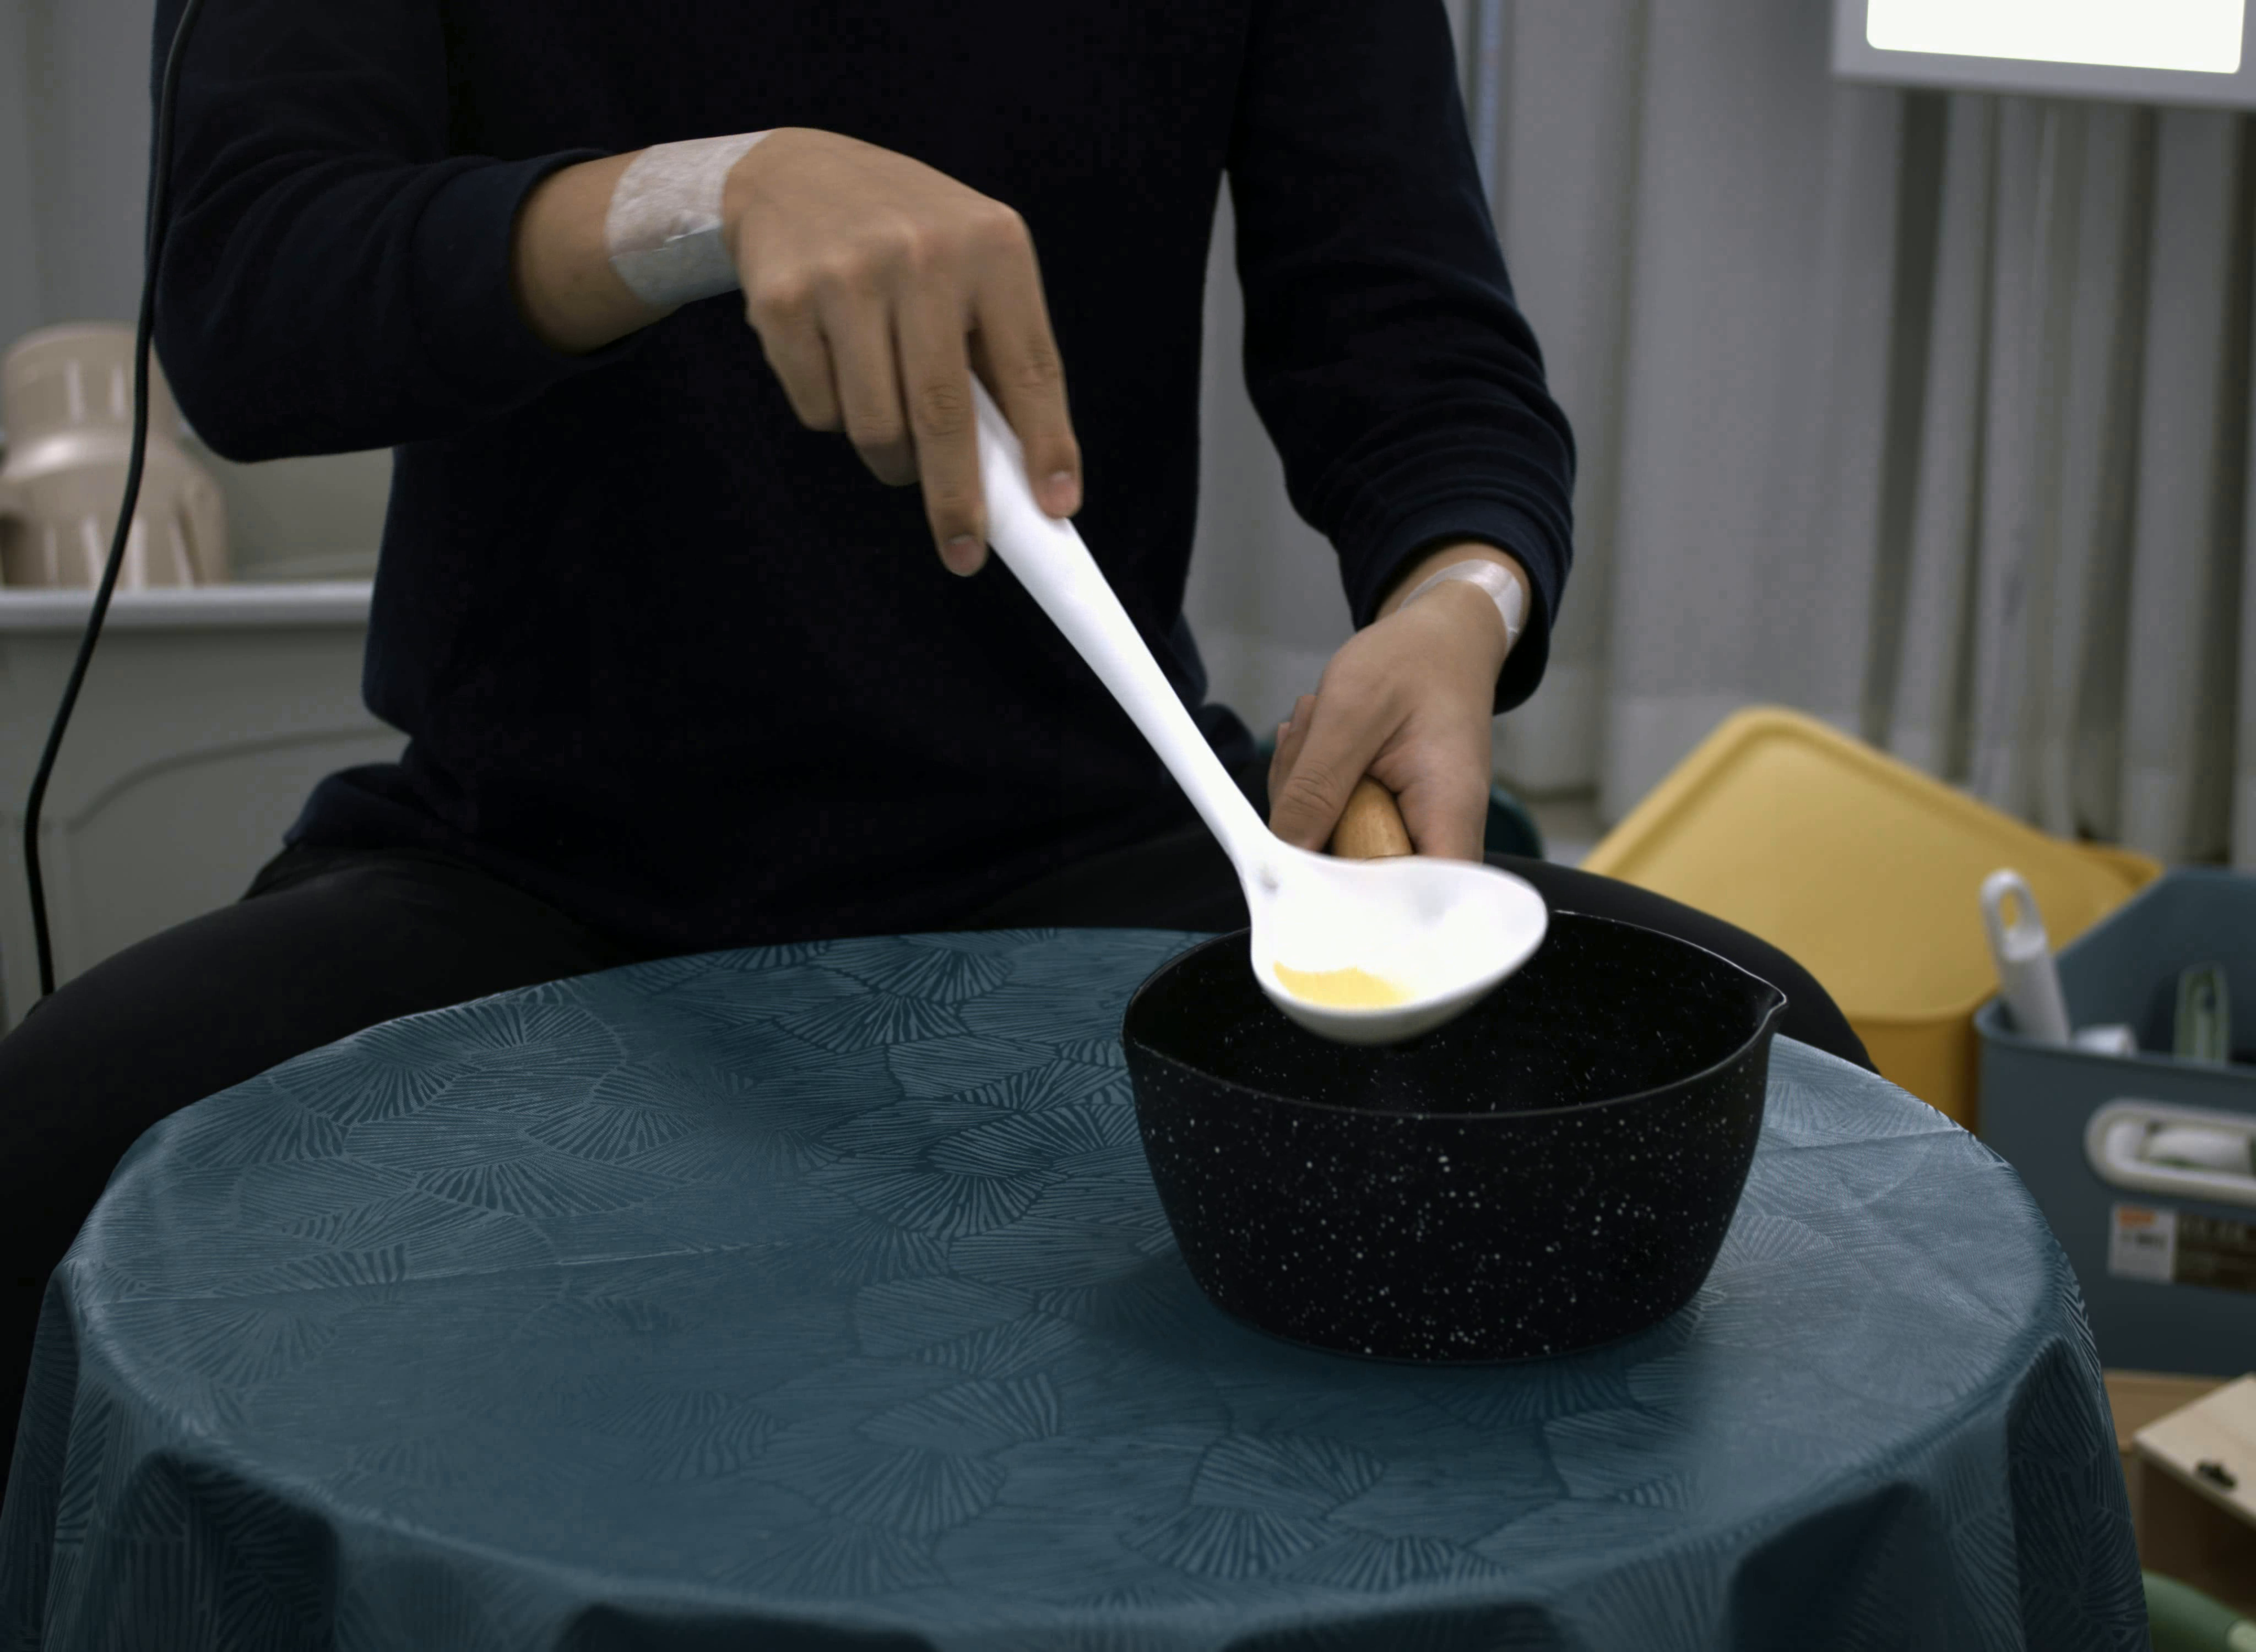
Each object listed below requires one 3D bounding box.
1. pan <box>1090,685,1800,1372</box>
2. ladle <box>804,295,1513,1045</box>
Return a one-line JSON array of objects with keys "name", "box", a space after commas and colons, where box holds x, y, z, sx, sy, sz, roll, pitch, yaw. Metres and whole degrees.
[{"name": "pan", "box": [0.085, 0.056, 1.609, 0.207, 0.109, 0.340, -3, 19, -6]}, {"name": "ladle", "box": [0.000, -0.051, 1.549, 0.090, 0.070, 0.291, -30, 72, -23]}]
